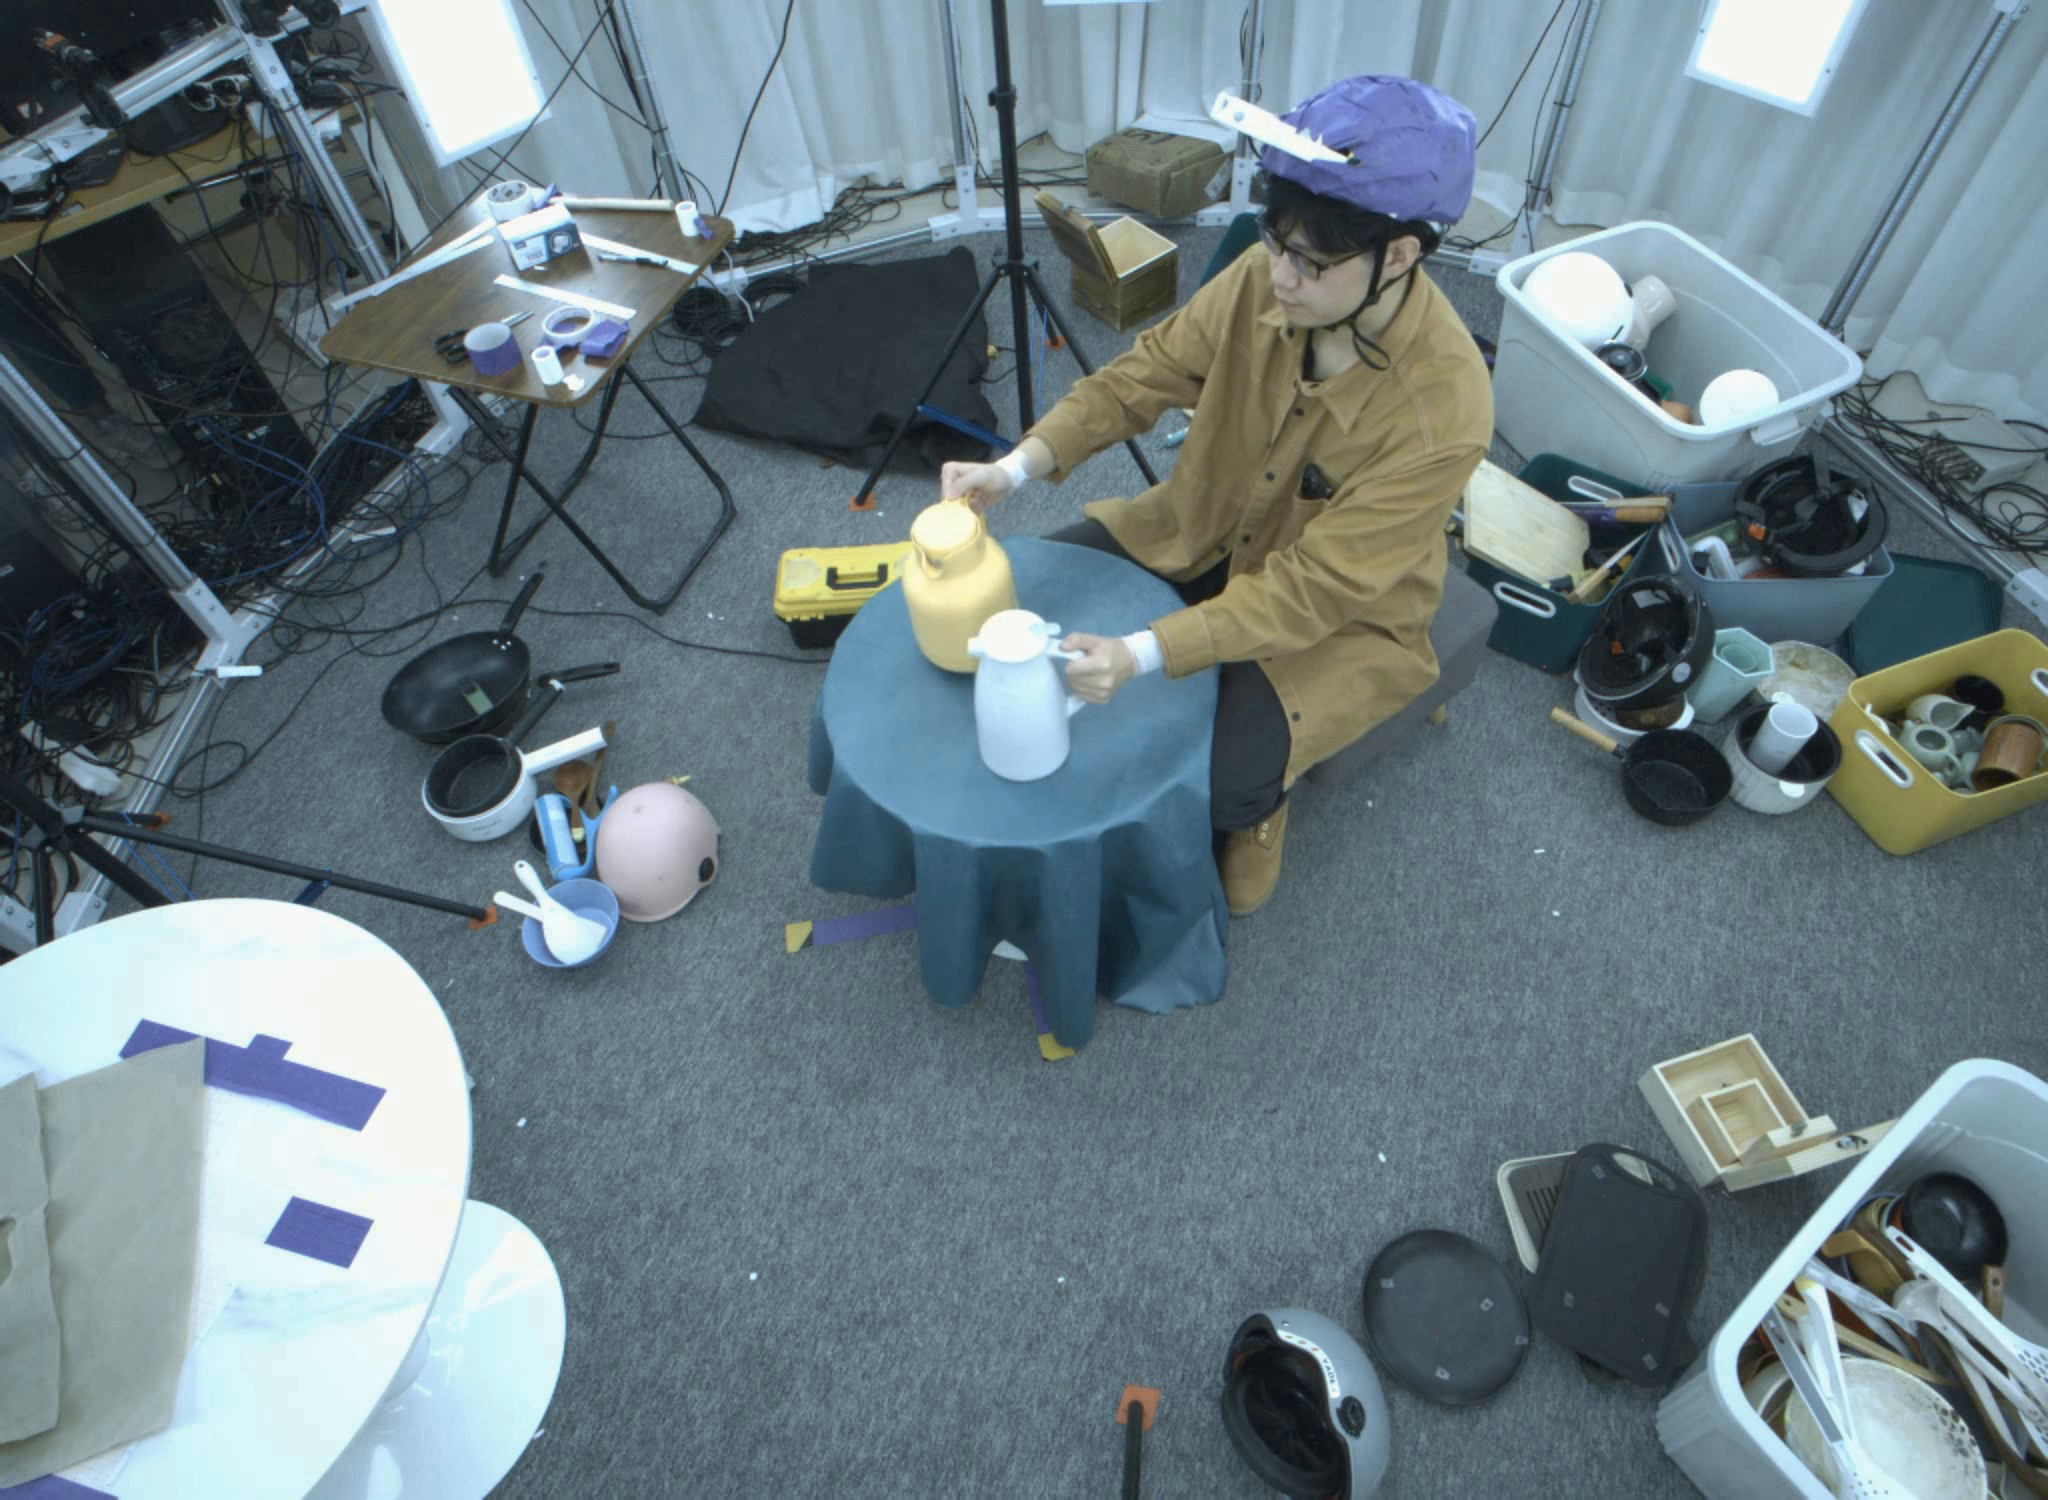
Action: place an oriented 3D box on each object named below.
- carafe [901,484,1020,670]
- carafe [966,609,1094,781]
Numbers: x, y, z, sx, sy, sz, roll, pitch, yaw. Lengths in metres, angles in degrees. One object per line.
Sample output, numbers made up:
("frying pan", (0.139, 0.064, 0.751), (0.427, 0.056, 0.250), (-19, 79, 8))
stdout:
("carafe", (-0.091, -0.260, 1.796), (0.162, 0.263, 0.201), (11, 61, 12))
("carafe", (0.011, -0.083, 1.689), (0.168, 0.251, 0.131), (-3, 54, 0))
